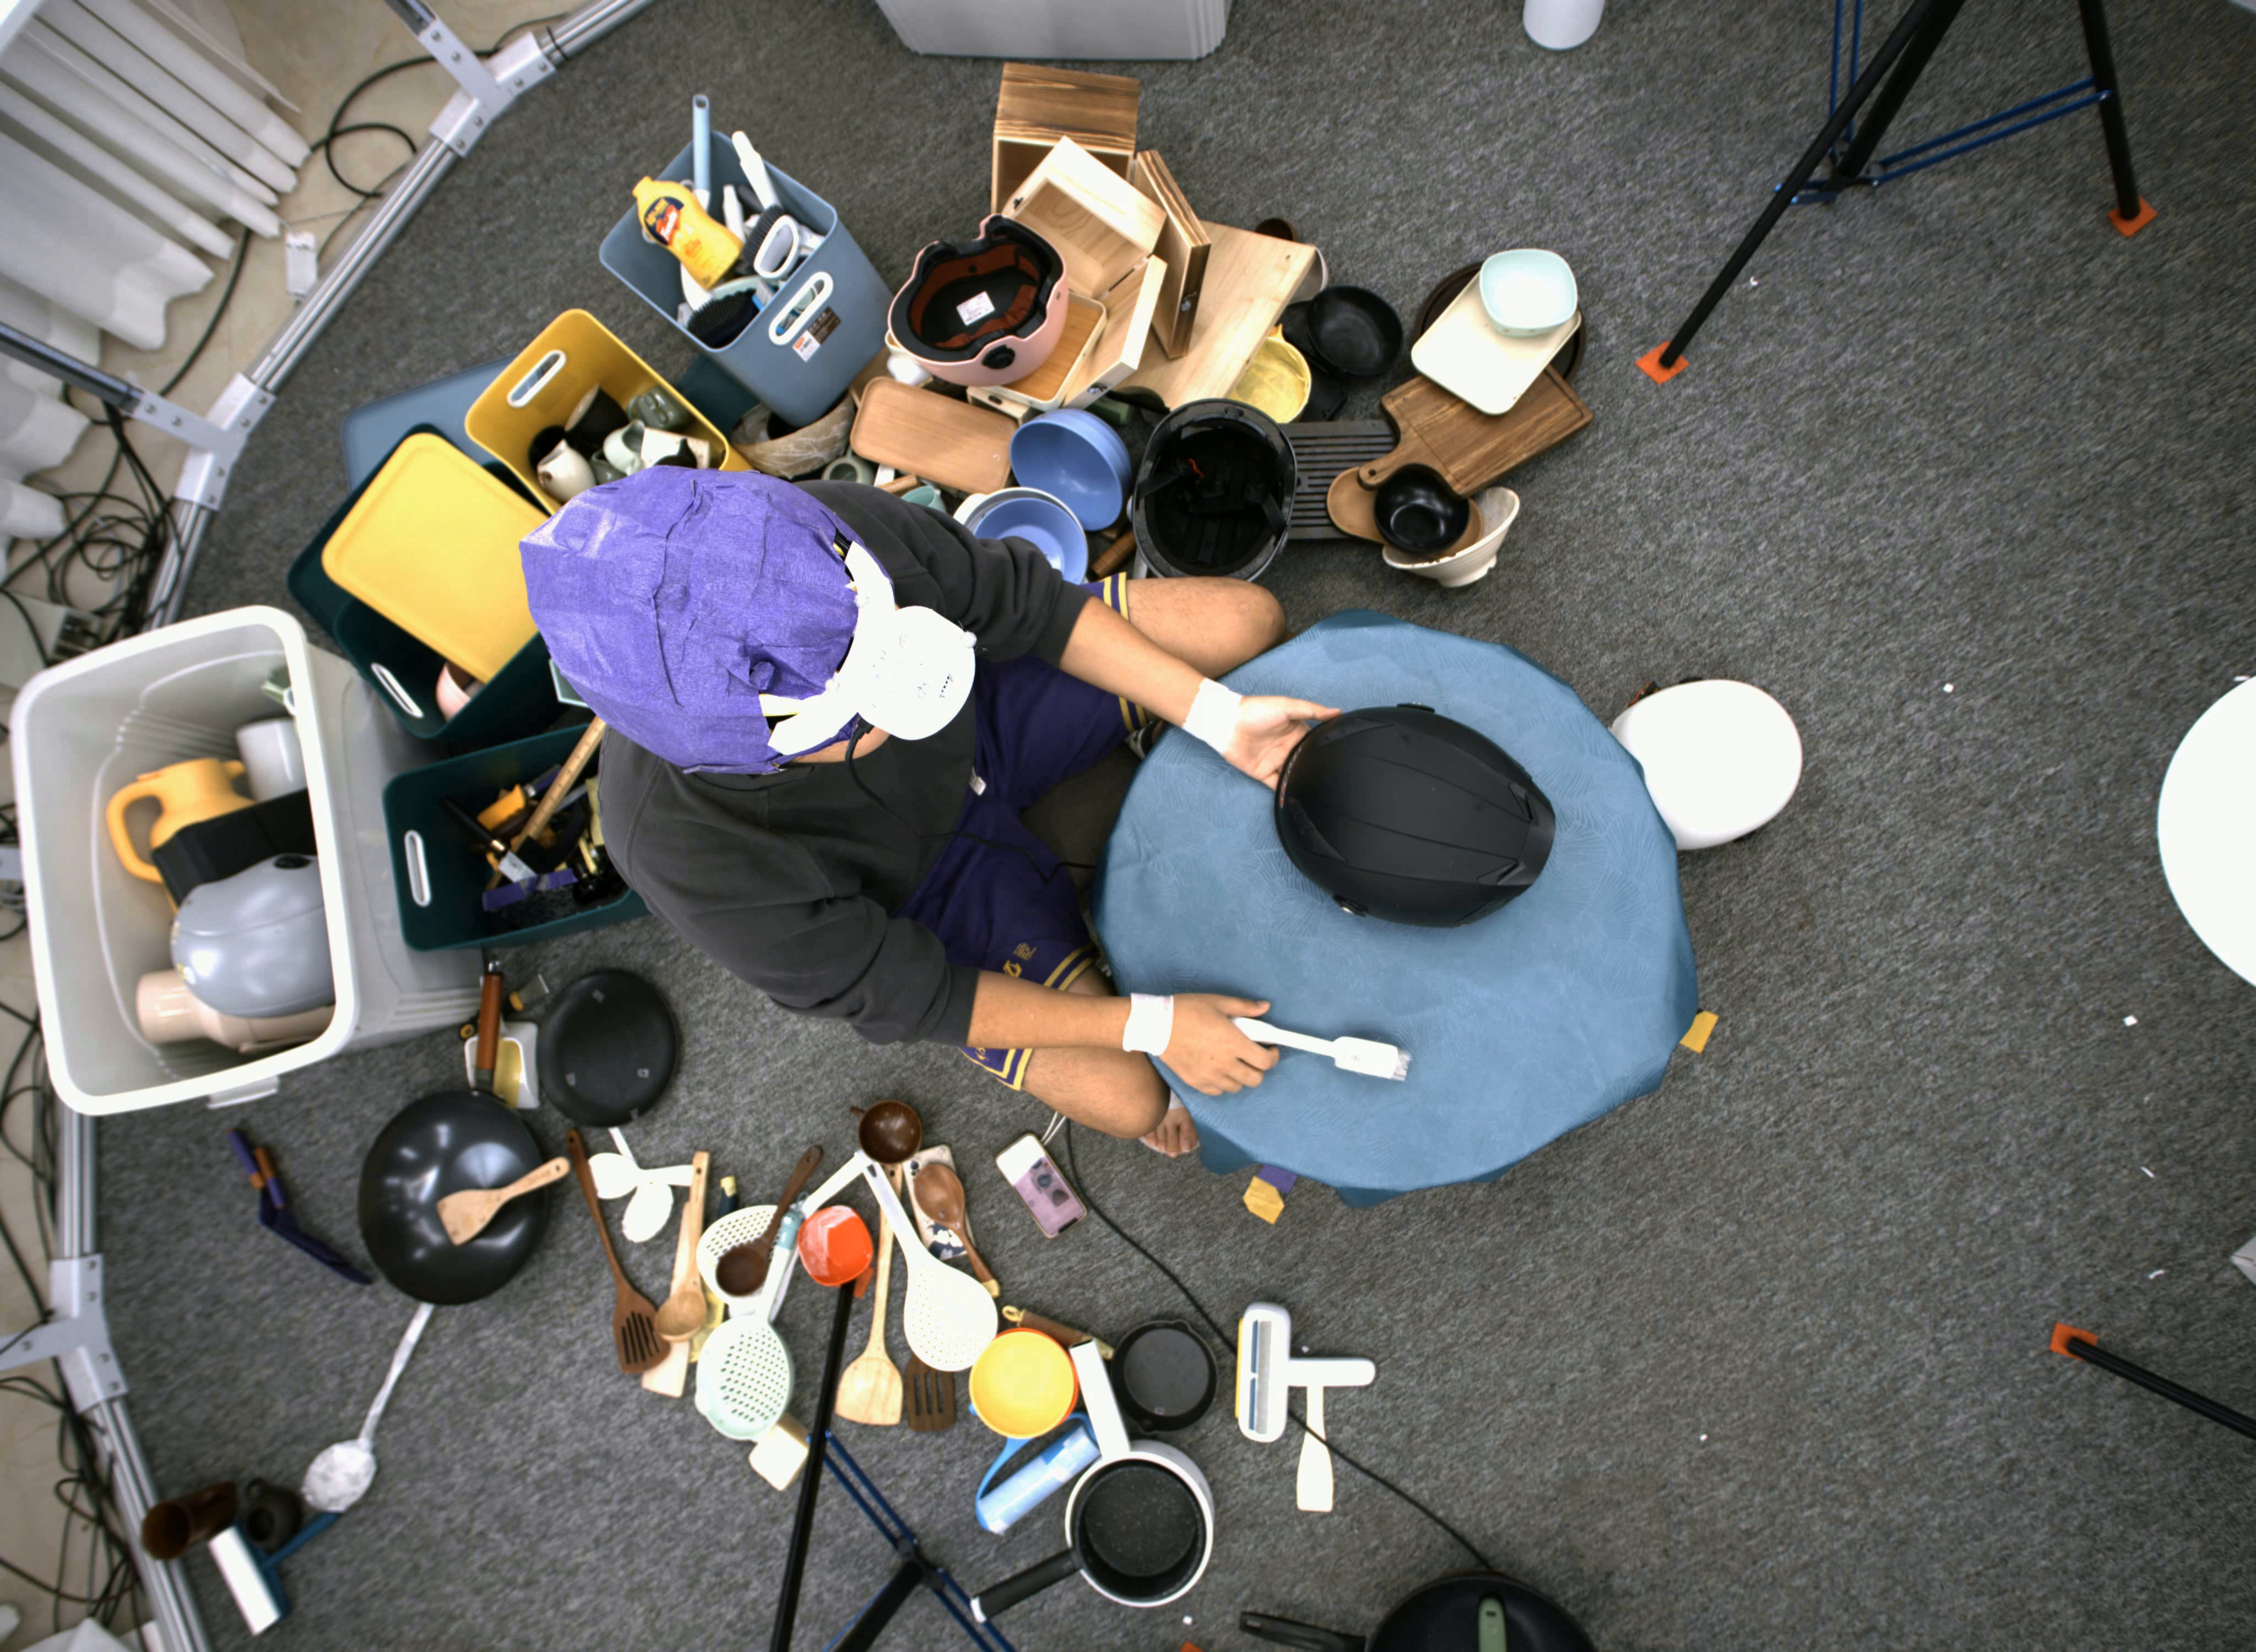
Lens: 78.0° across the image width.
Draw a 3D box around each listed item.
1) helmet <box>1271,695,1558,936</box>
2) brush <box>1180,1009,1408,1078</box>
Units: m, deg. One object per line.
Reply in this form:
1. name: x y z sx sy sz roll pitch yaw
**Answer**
1. helmet: 0.284 -0.019 1.381 0.277 0.172 0.246 21 89 9
2. brush: 0.172 0.225 1.457 0.244 0.050 0.034 8 80 24
